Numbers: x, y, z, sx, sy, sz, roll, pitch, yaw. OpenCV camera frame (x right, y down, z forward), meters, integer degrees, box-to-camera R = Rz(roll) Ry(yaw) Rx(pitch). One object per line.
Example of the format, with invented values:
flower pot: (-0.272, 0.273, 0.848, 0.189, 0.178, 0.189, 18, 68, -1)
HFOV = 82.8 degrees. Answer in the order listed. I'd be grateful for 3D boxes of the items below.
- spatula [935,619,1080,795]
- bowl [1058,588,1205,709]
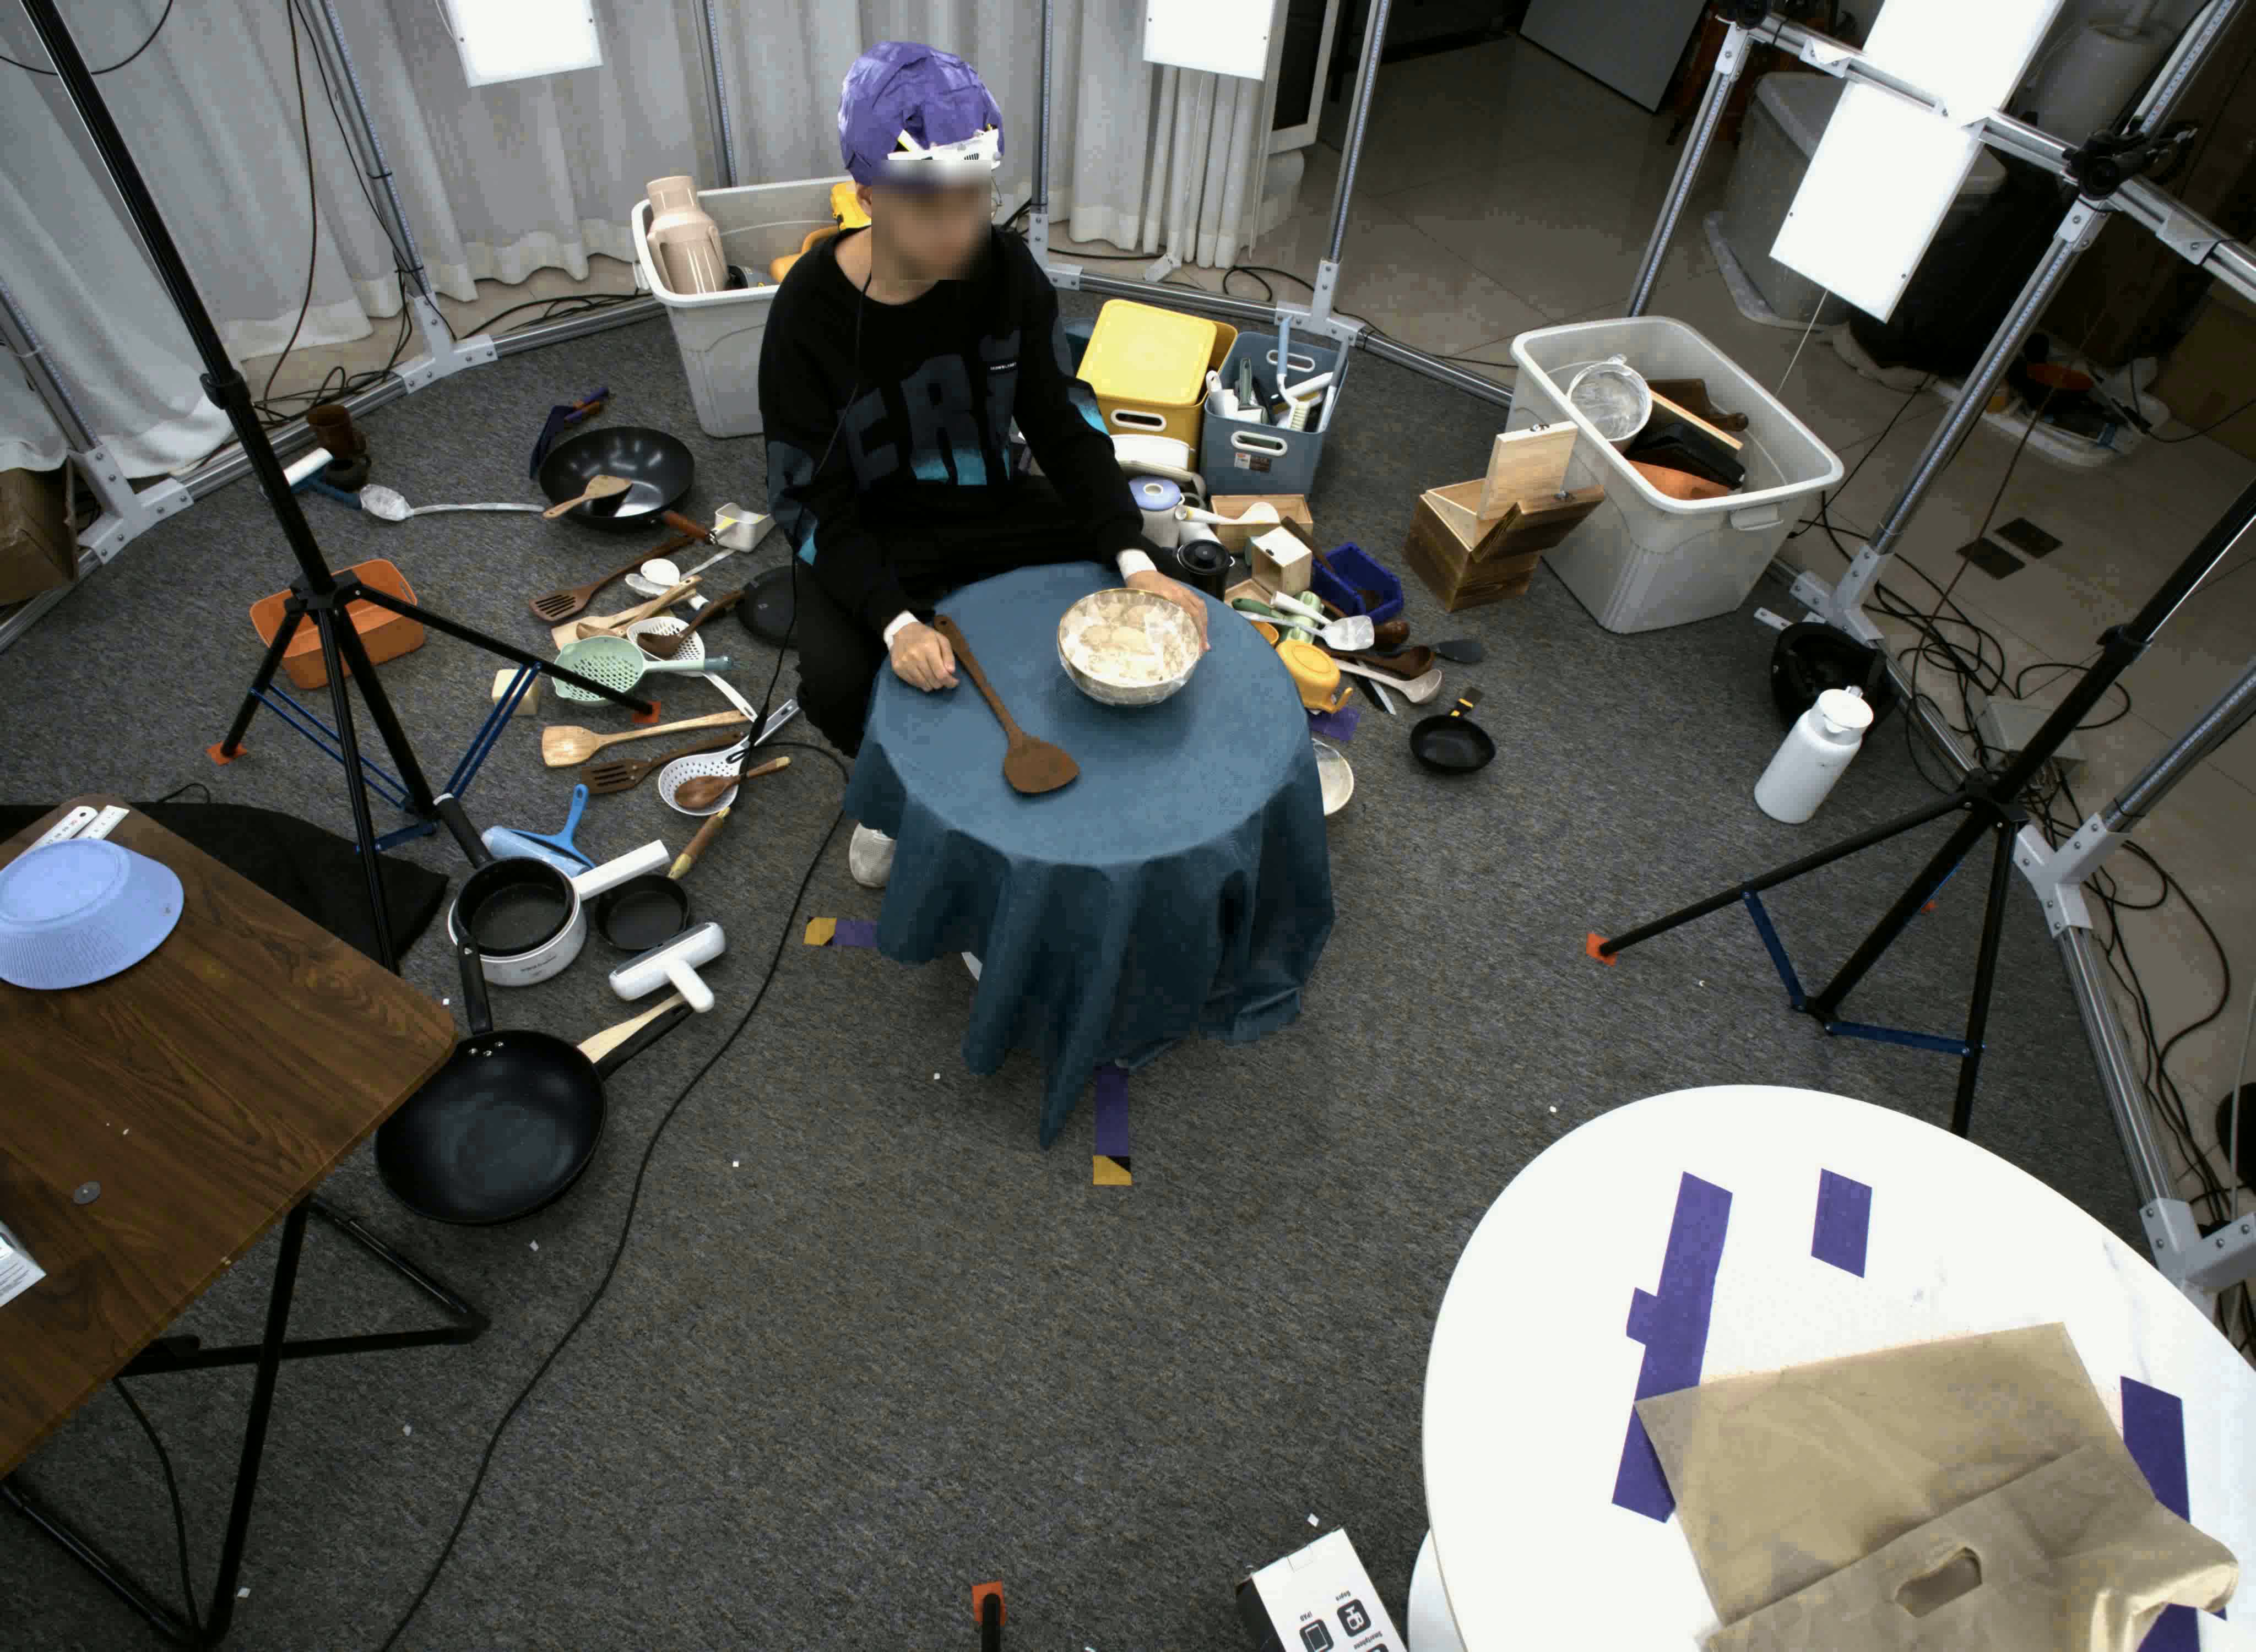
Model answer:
spatula: (-0.189, -0.179, 1.819, 0.096, 0.015, 0.394, -20, 53, -20)
bowl: (0.003, -0.238, 1.831, 0.214, 0.092, 0.220, 1, 49, -1)
